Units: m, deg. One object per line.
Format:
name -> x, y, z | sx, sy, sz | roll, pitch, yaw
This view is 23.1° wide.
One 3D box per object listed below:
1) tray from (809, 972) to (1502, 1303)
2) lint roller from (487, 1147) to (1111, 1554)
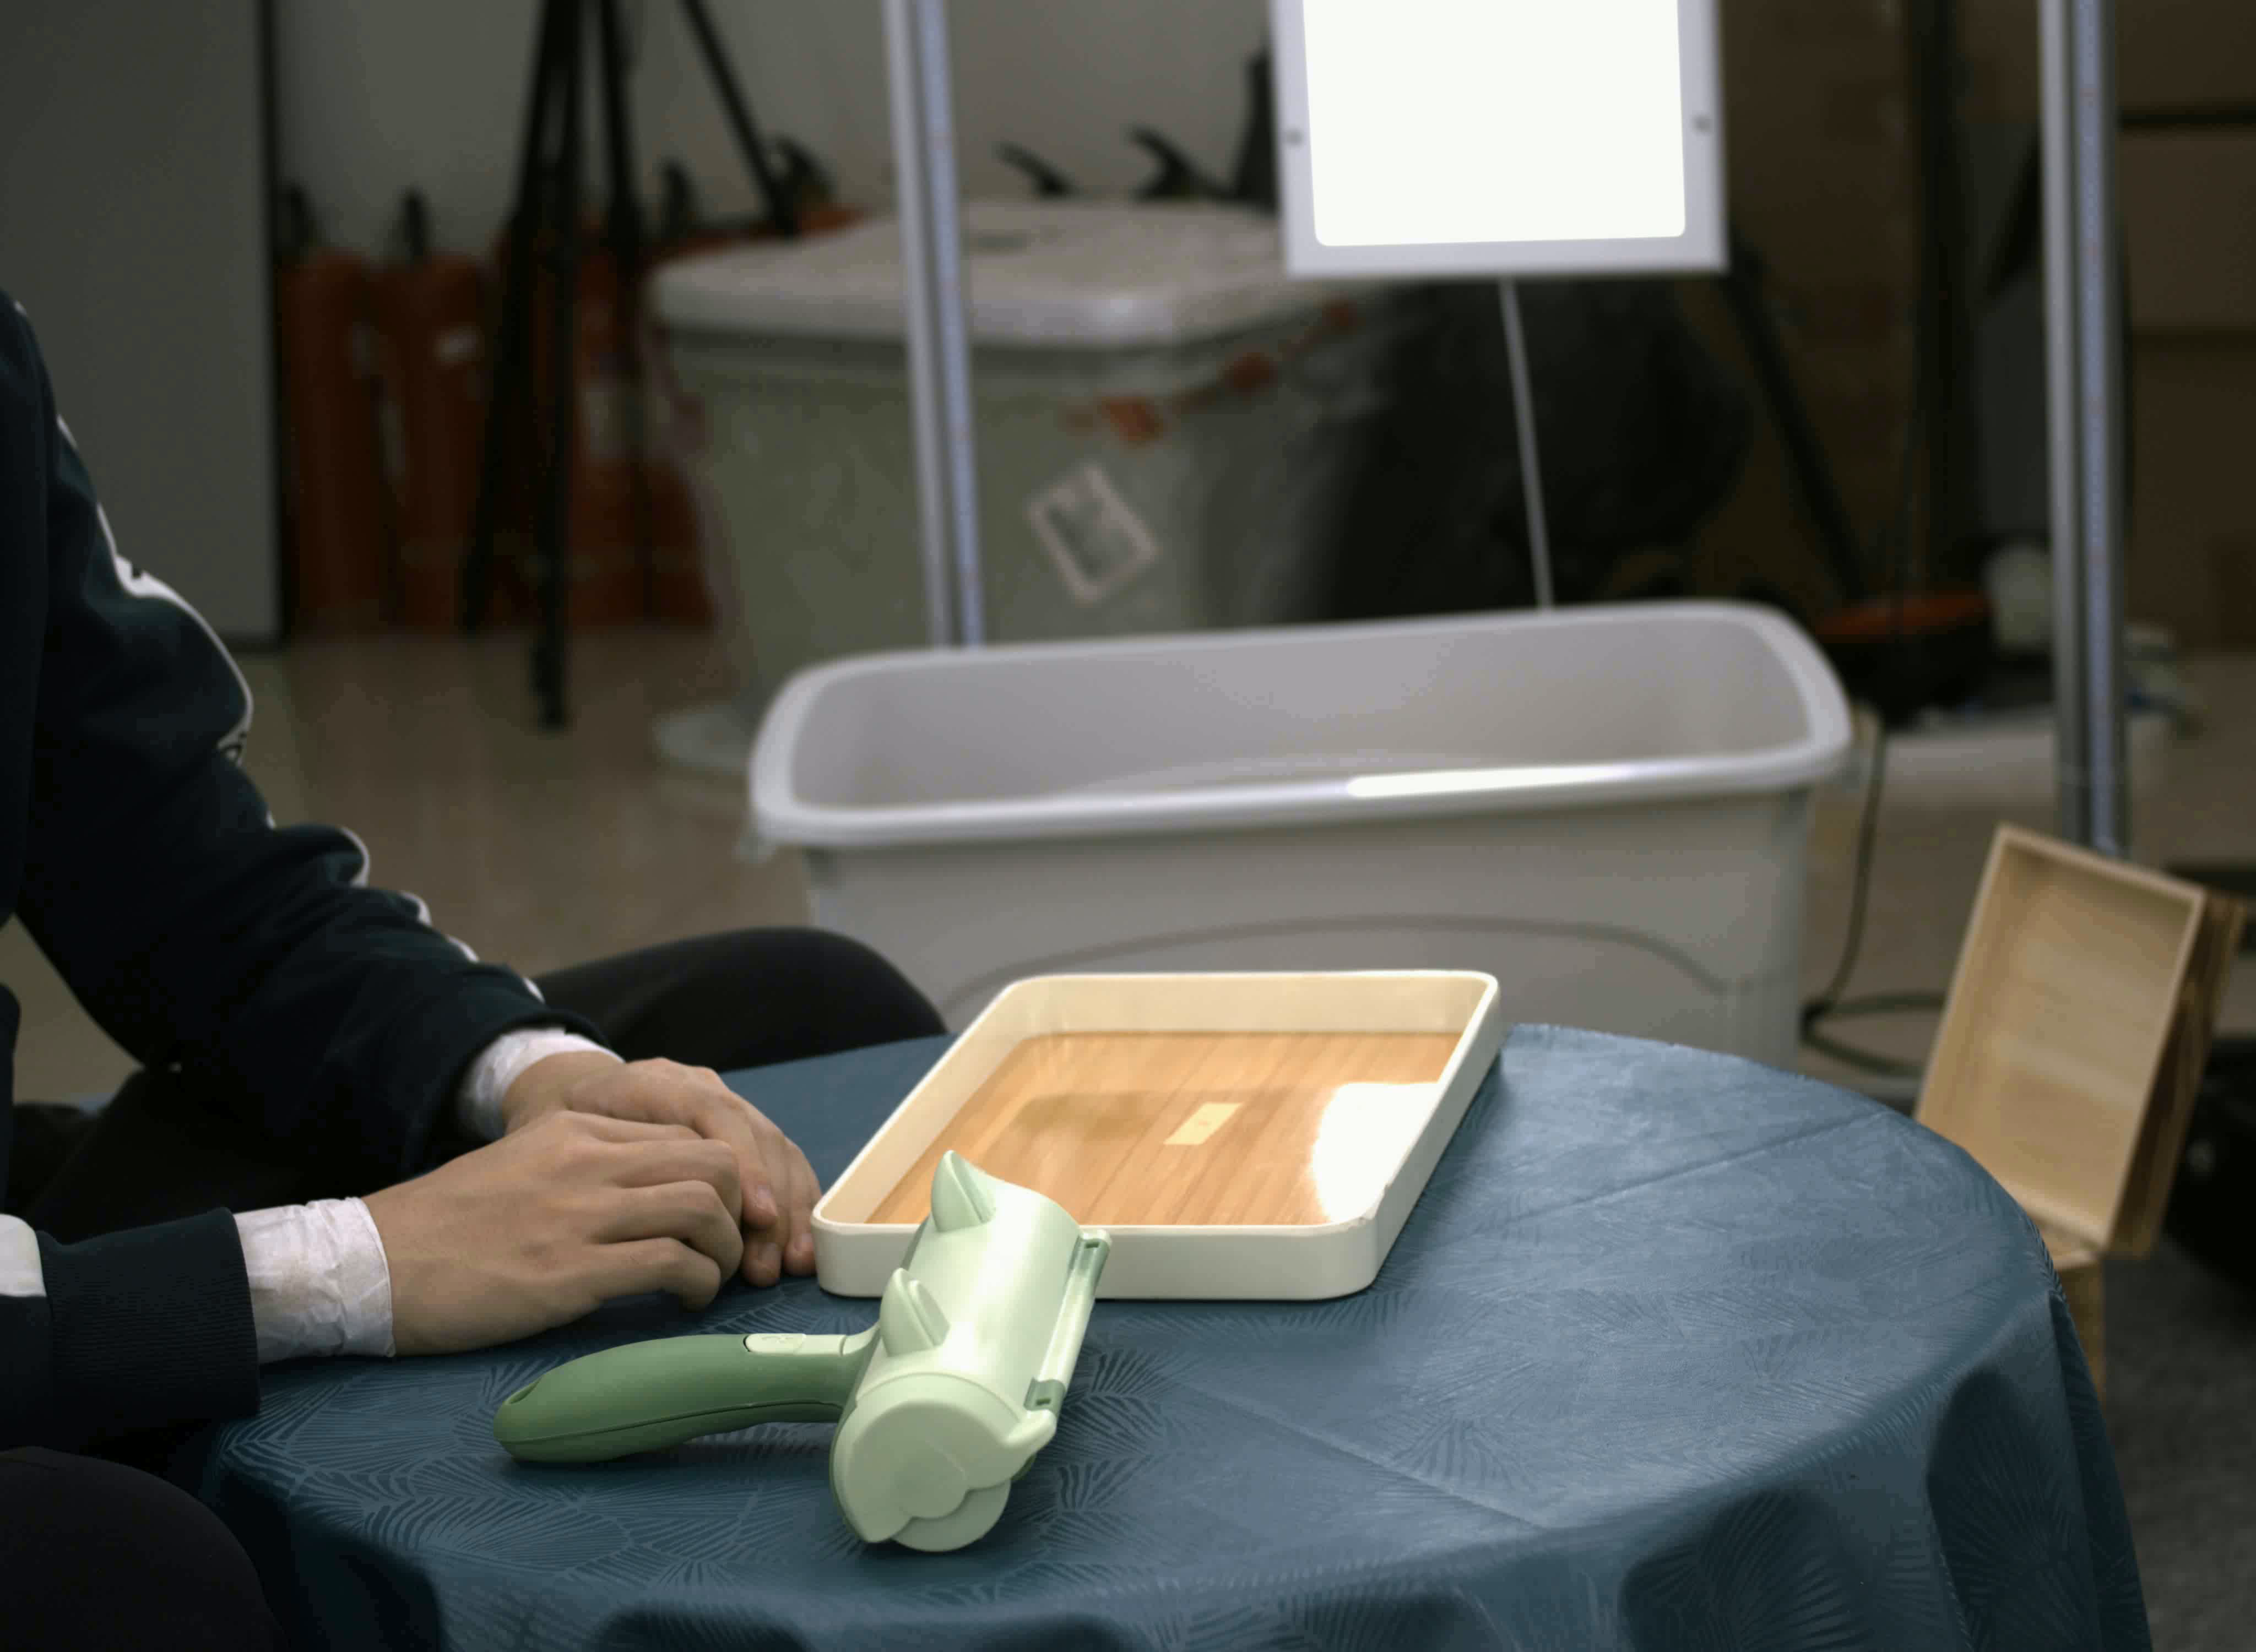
tray -> 0.017, 0.105, 1.919 | 0.193, 0.027, 0.296 | -2, 14, 15
lint roller -> -0.104, 0.153, 1.666 | 0.184, 0.082, 0.197 | 1, 14, 7
